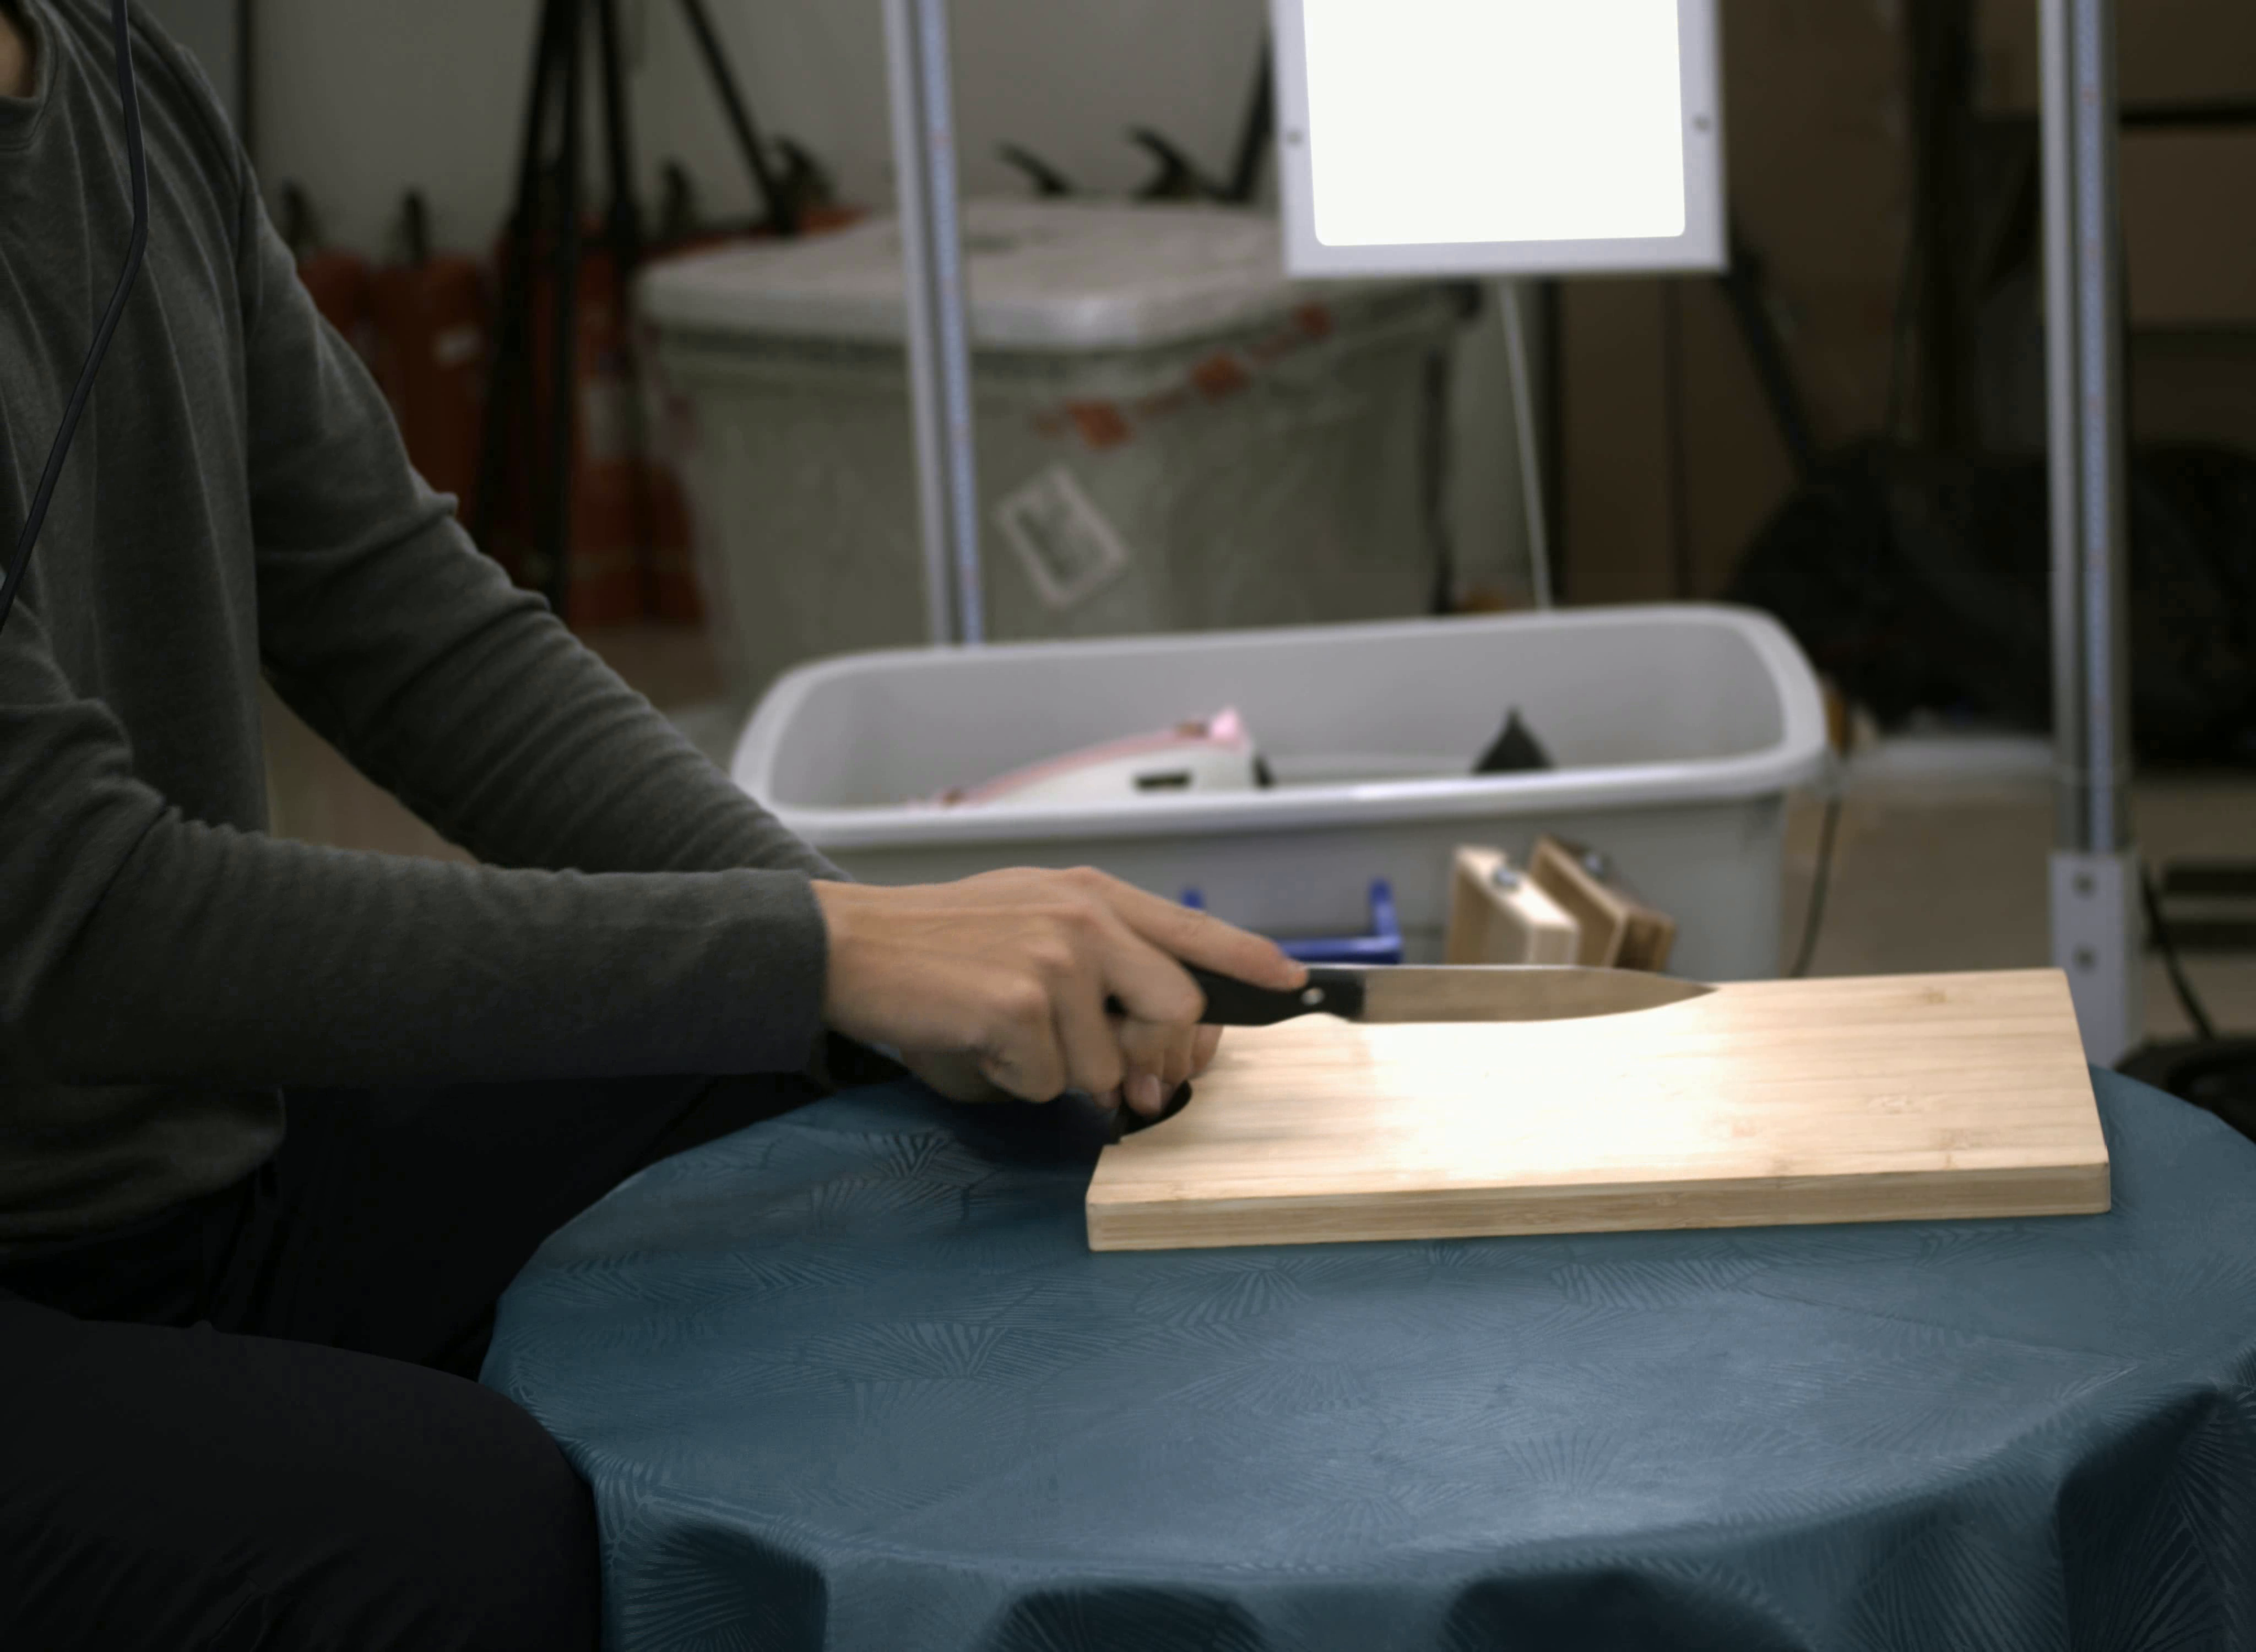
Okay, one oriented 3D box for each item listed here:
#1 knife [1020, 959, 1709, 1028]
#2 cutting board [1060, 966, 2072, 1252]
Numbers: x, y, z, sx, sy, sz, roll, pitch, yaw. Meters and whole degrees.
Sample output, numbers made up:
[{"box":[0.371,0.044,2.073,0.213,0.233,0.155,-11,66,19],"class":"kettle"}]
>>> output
[{"box":[0.082,0.058,1.893,0.238,0.024,0.016,1,23,5],"class":"knife"},{"box":[0.161,0.098,1.928,0.350,0.023,0.249,-3,13,8],"class":"cutting board"}]
